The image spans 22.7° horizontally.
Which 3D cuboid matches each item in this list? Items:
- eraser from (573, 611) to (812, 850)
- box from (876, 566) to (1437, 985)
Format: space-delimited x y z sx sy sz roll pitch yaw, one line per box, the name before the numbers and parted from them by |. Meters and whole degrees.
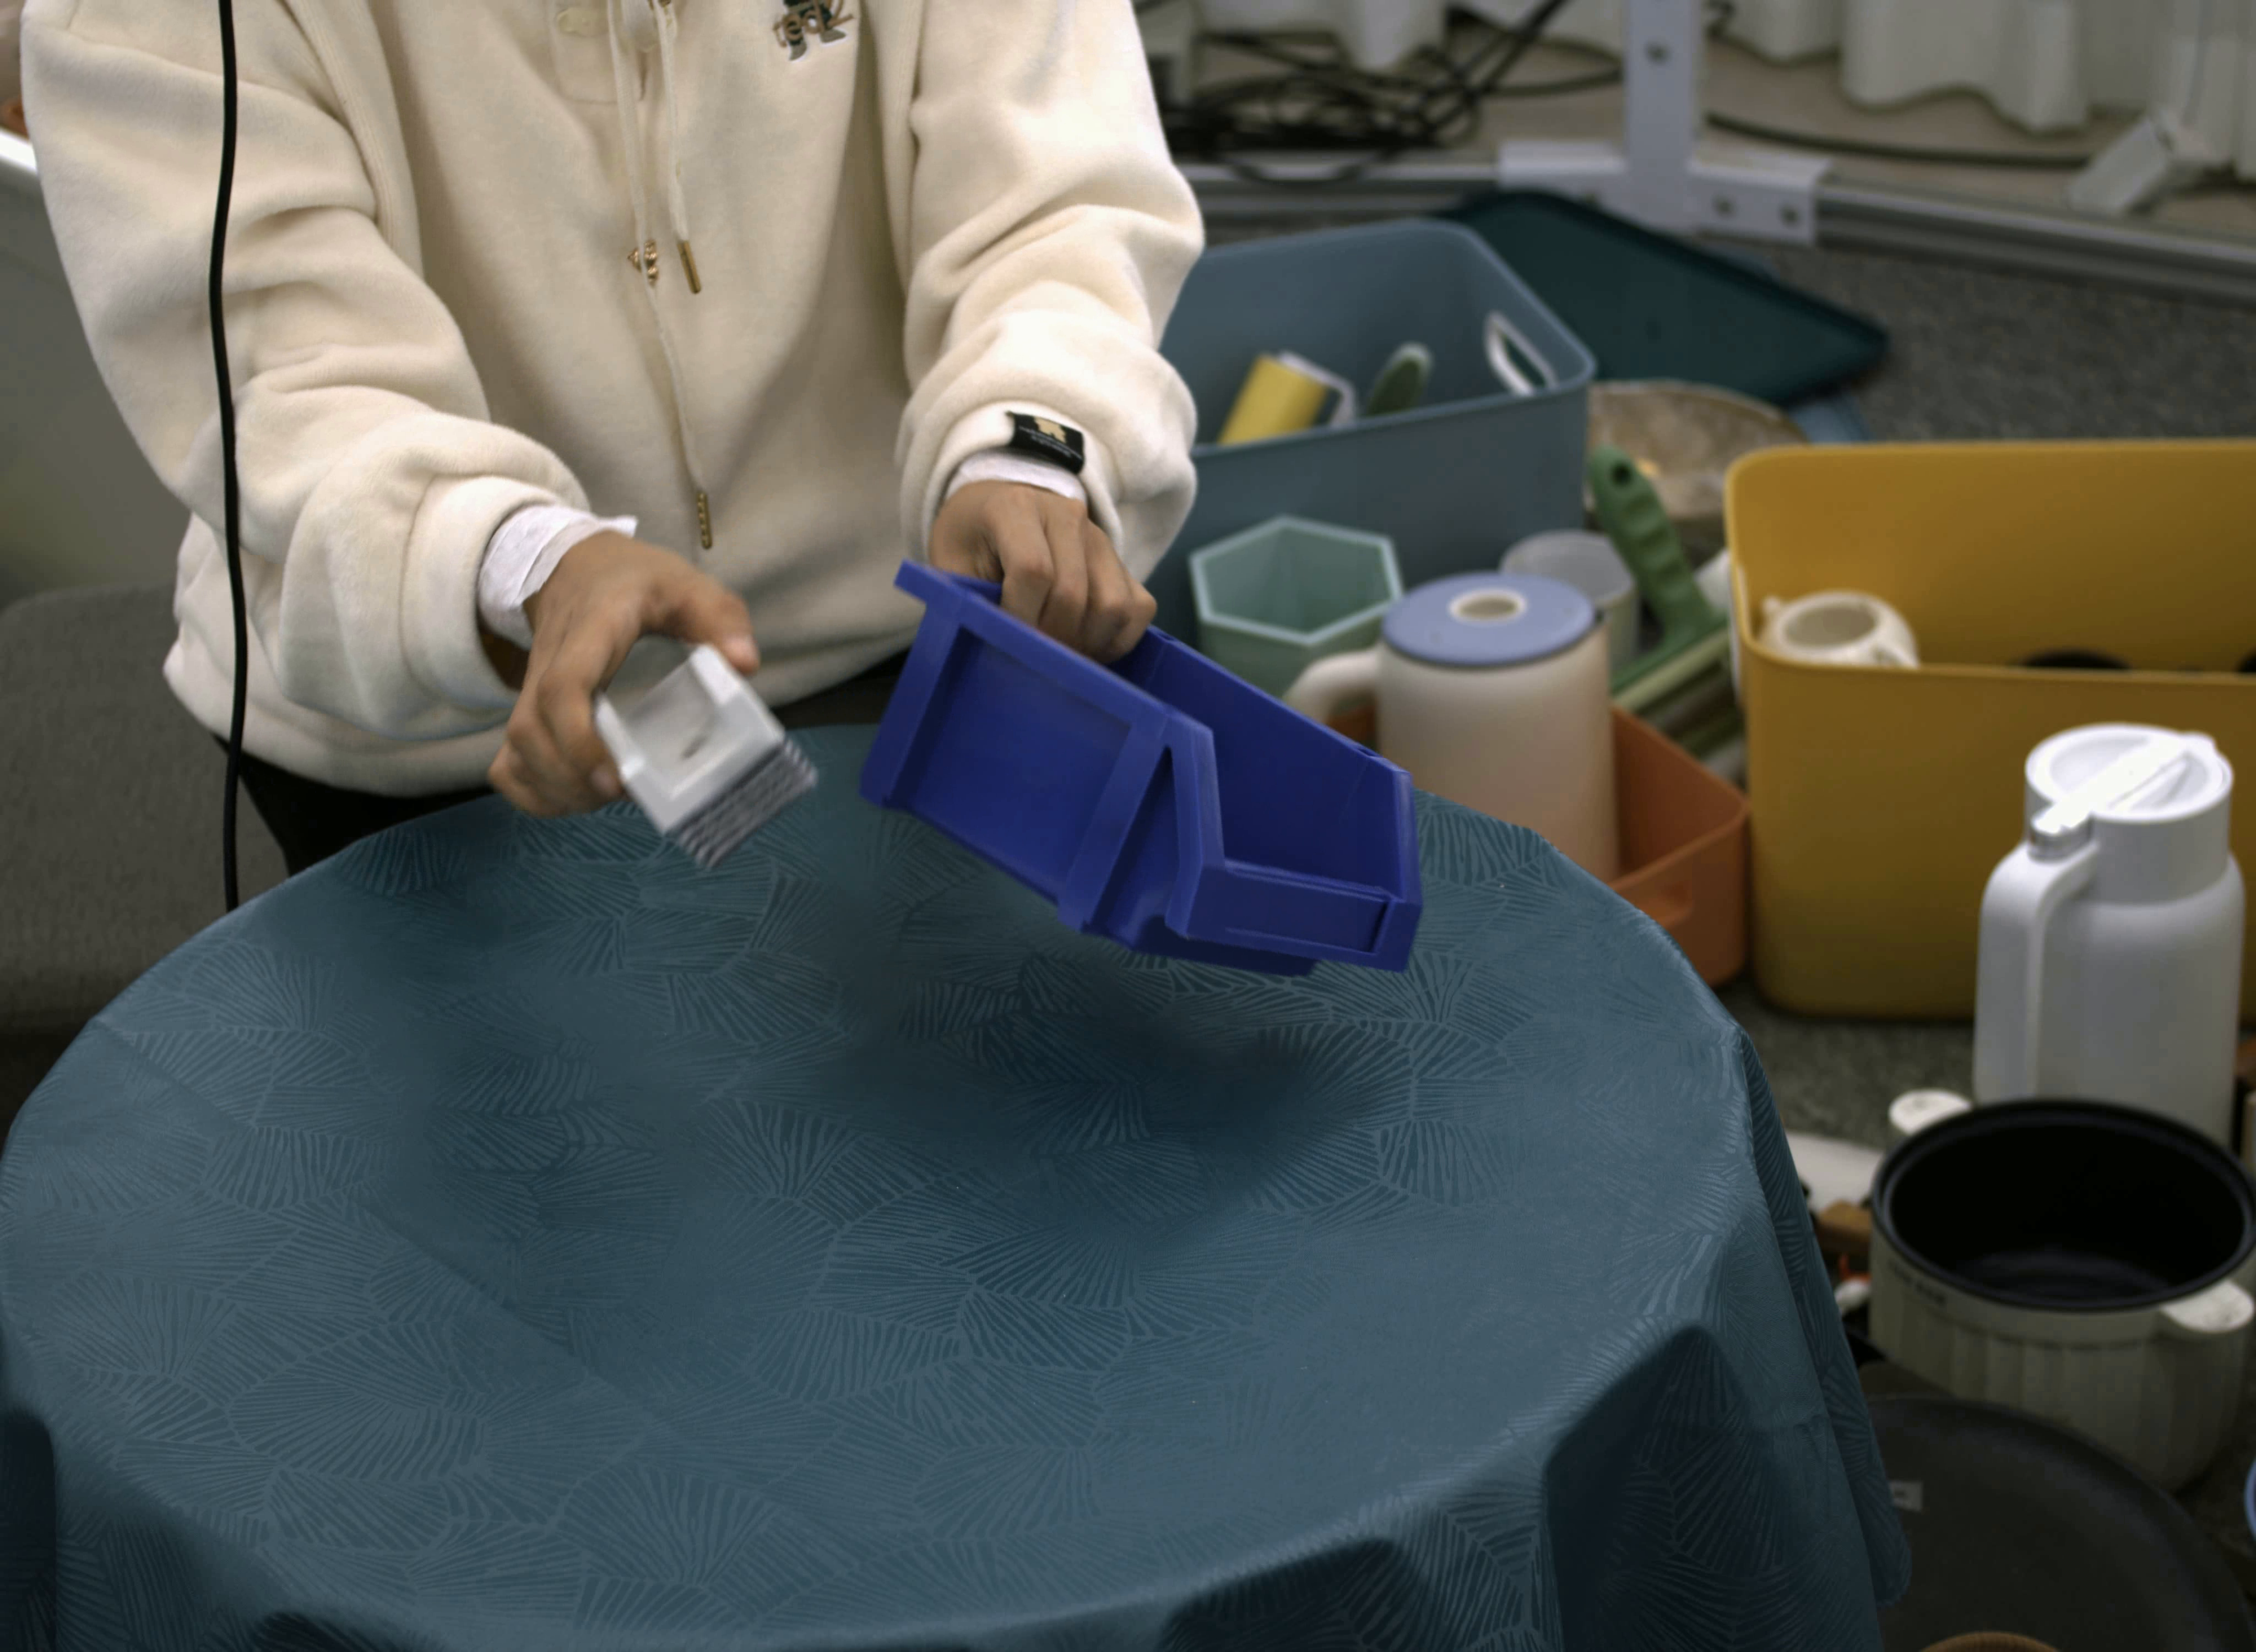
eraser | -0.143 -0.032 1.849 0.050 0.046 0.134 -43 17 -4
box | 0.012 -0.010 1.920 0.179 0.082 0.124 29 9 41
